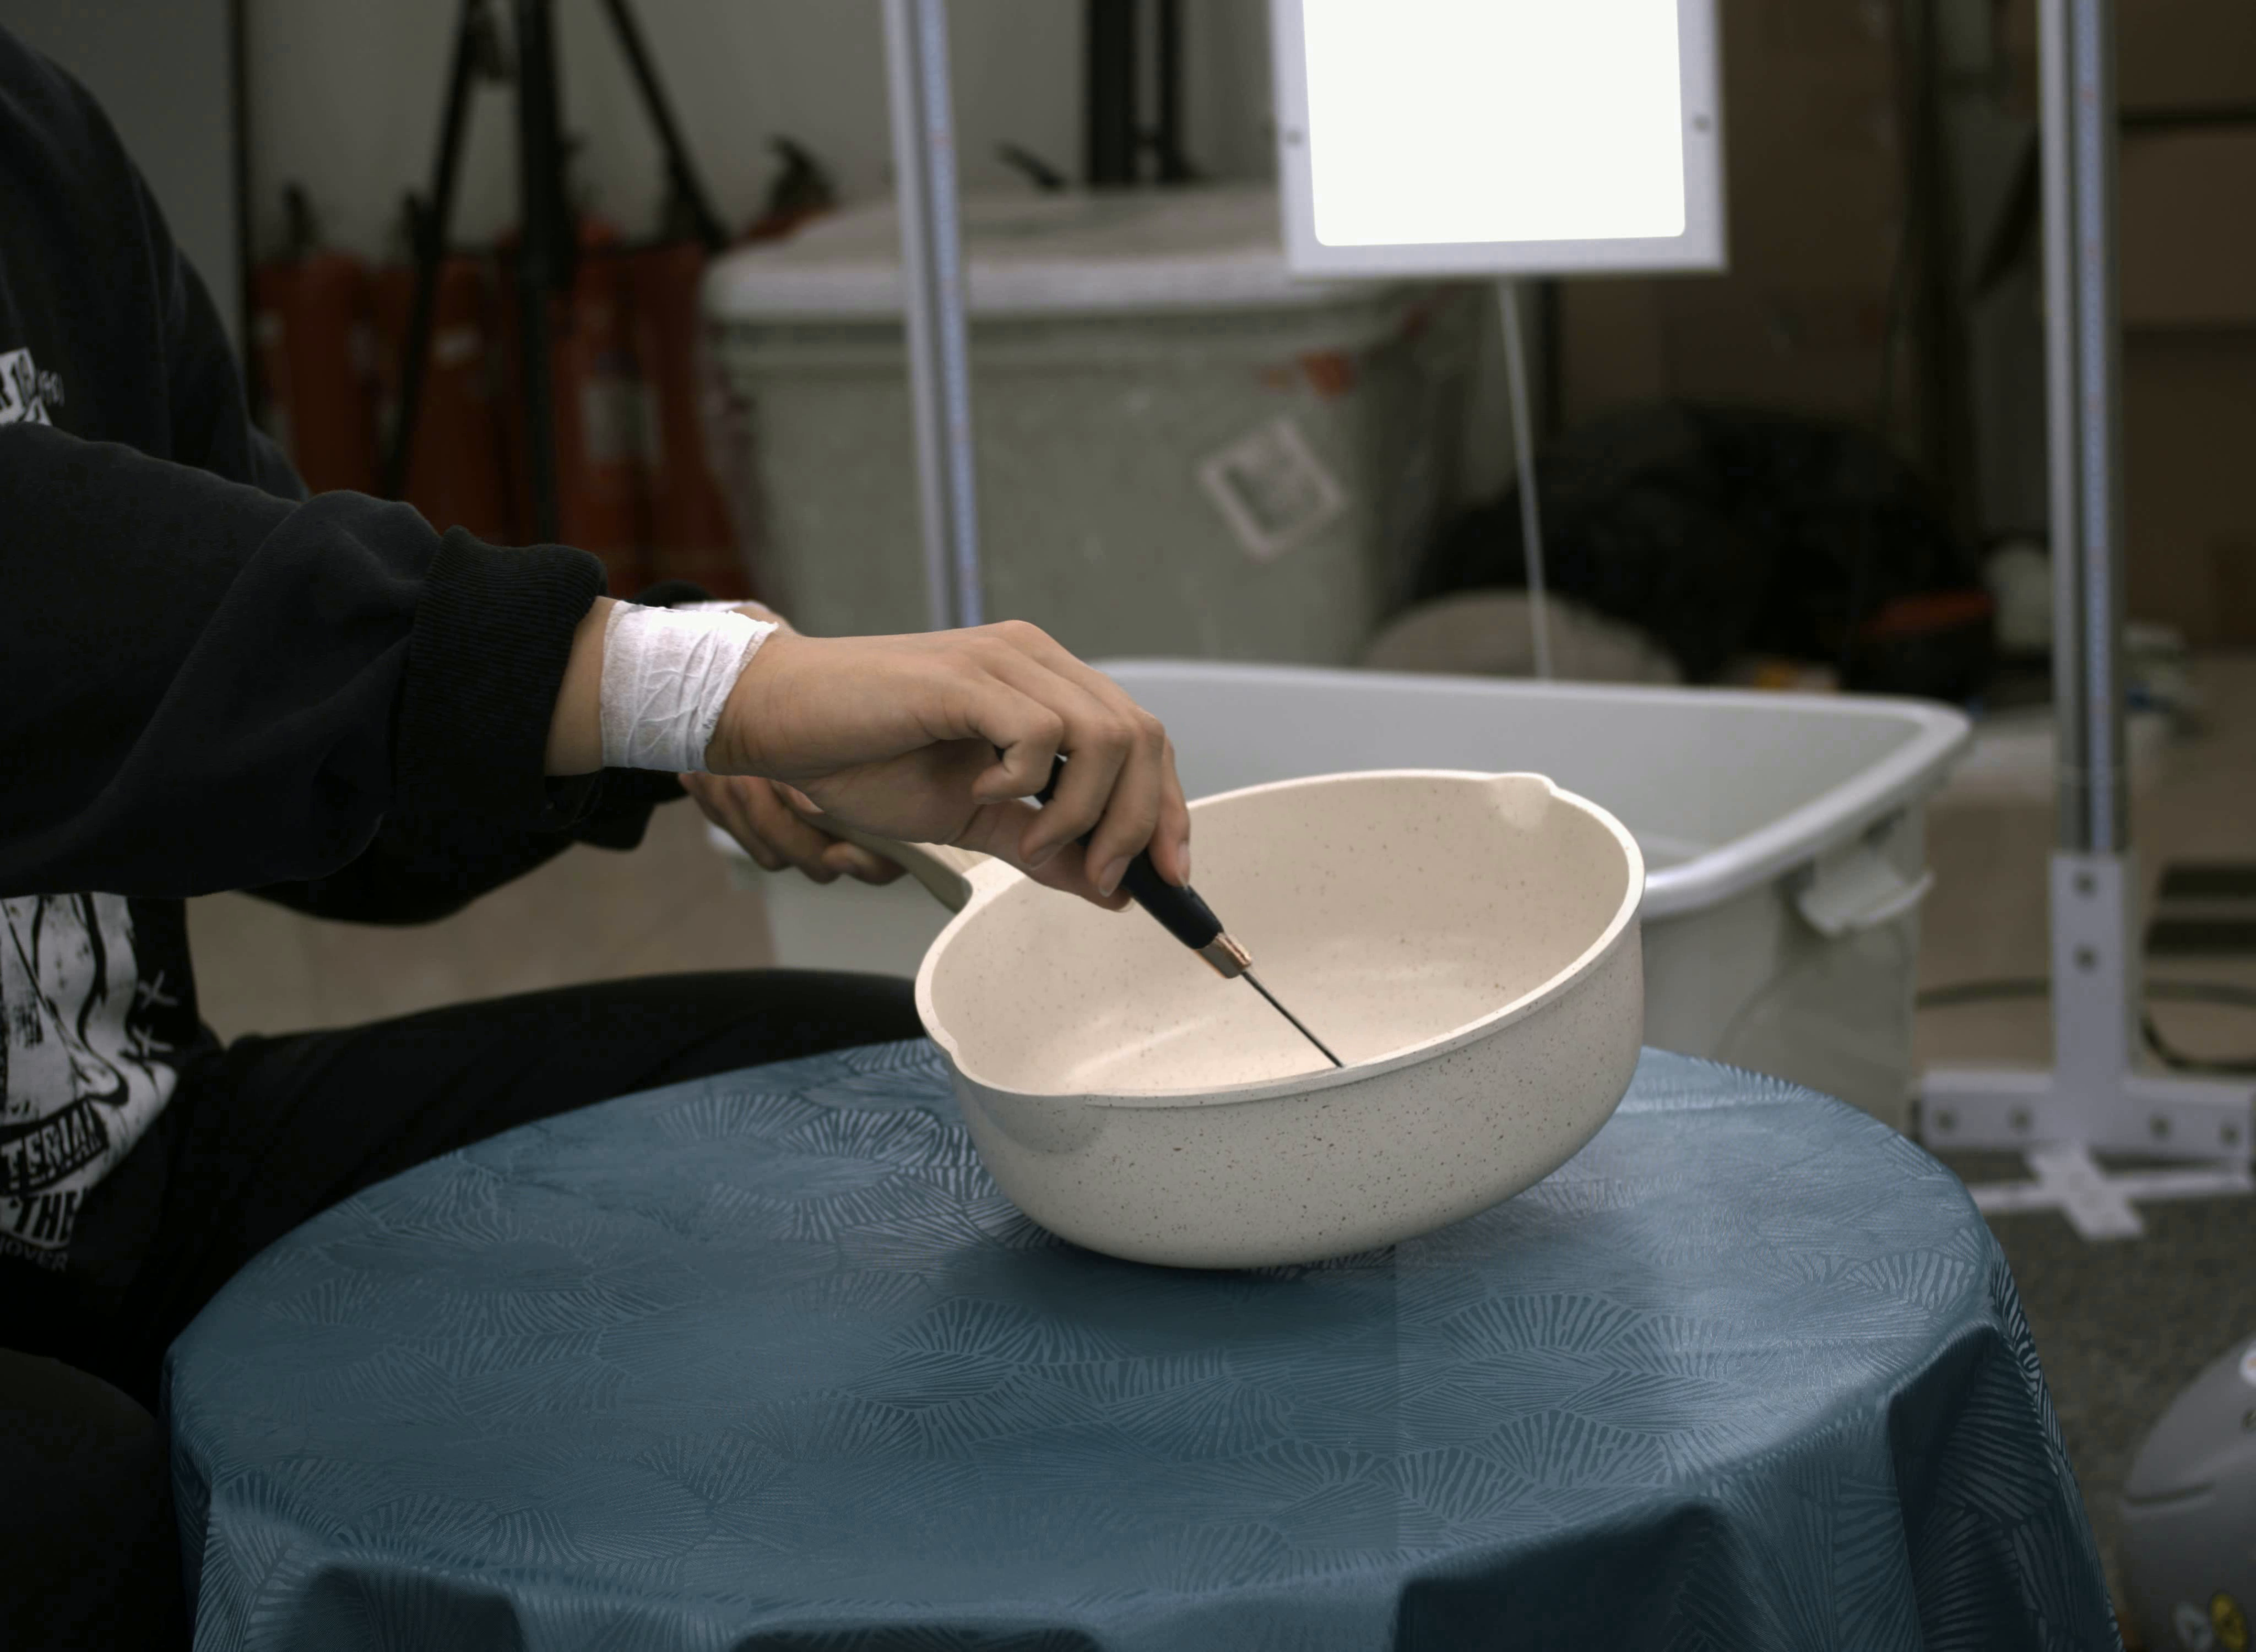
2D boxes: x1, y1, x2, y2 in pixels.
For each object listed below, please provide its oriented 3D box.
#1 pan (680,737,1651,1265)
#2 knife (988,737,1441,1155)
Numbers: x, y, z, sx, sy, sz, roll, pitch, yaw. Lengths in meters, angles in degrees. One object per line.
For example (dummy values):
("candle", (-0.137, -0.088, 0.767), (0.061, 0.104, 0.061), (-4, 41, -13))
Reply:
("pan", (-0.003, 0.045, 1.941), (0.257, 0.102, 0.444), (-31, 28, -34))
("knife", (0.033, 0.042, 1.736), (0.017, 0.223, 0.026), (-49, 26, -3))
